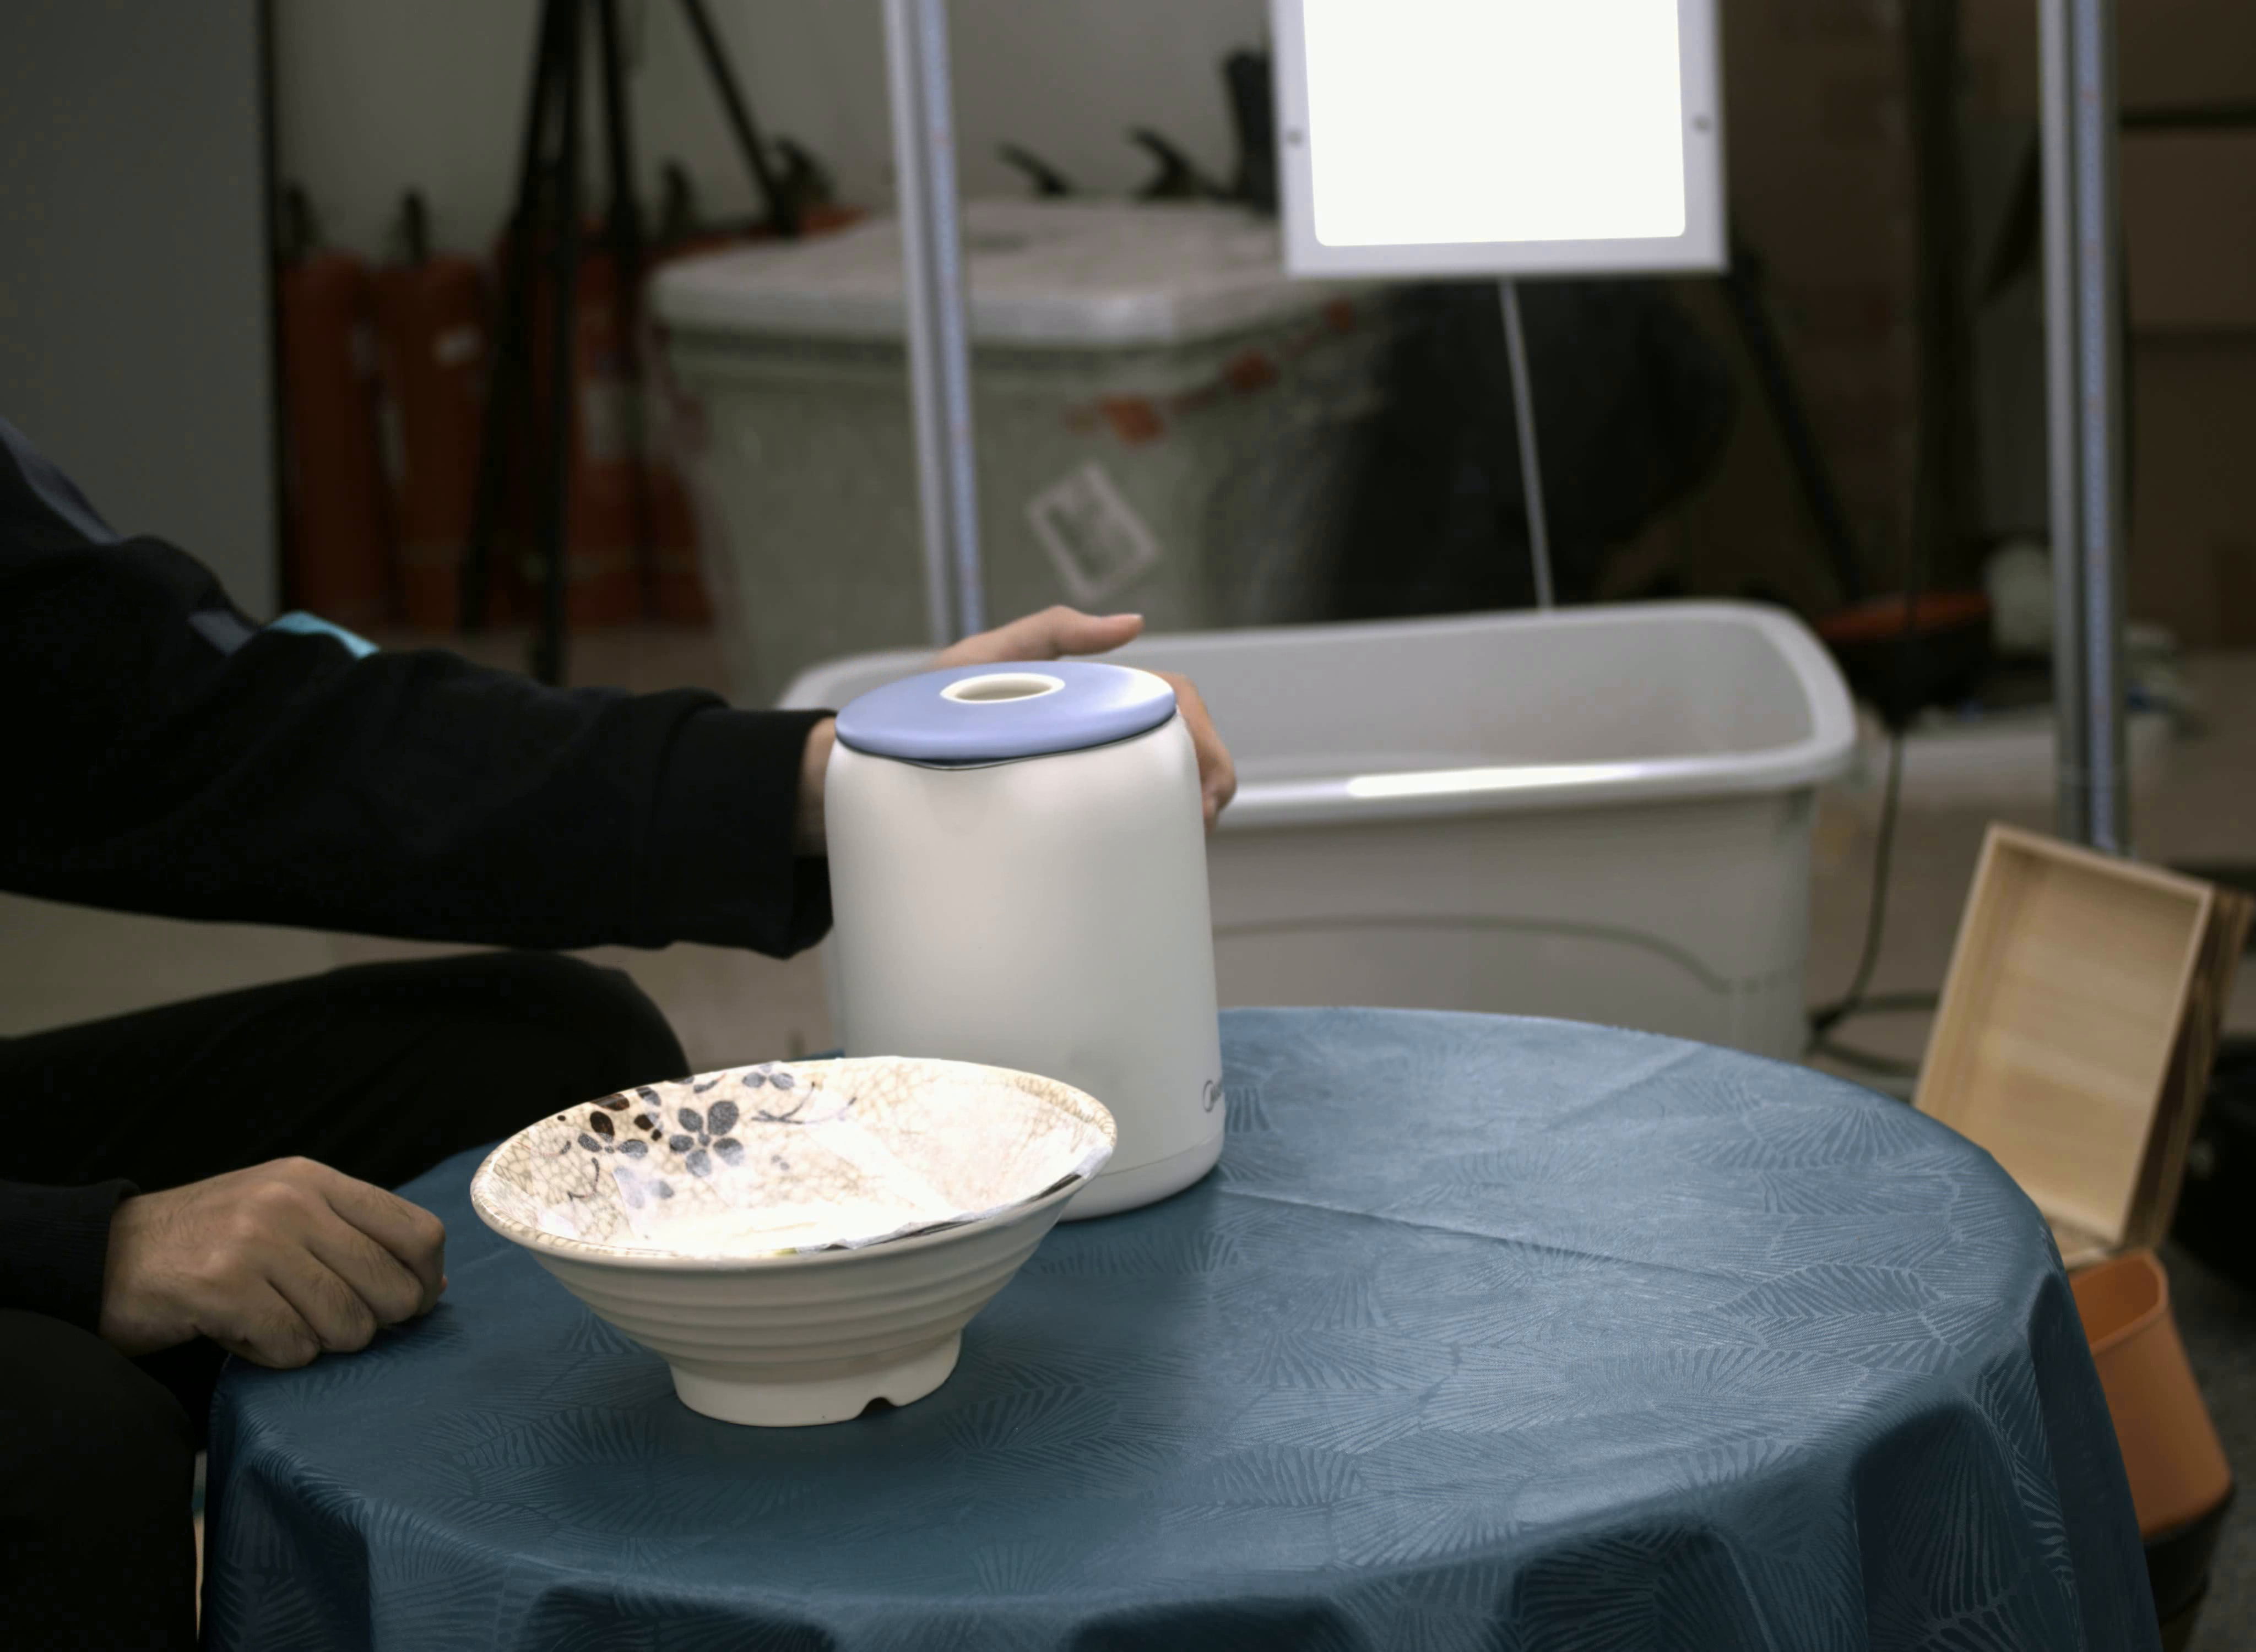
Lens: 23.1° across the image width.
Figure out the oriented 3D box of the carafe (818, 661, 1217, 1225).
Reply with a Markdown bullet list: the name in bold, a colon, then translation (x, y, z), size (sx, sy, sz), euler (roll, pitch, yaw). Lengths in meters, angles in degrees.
- **carafe**: translation (-0.033, 0.034, 1.926), size (0.133, 0.183, 0.188), euler (0, 12, 14)

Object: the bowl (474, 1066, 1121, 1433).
- **bowl**: translation (-0.098, 0.139, 1.725), size (0.203, 0.078, 0.204), euler (-8, 12, 0)
